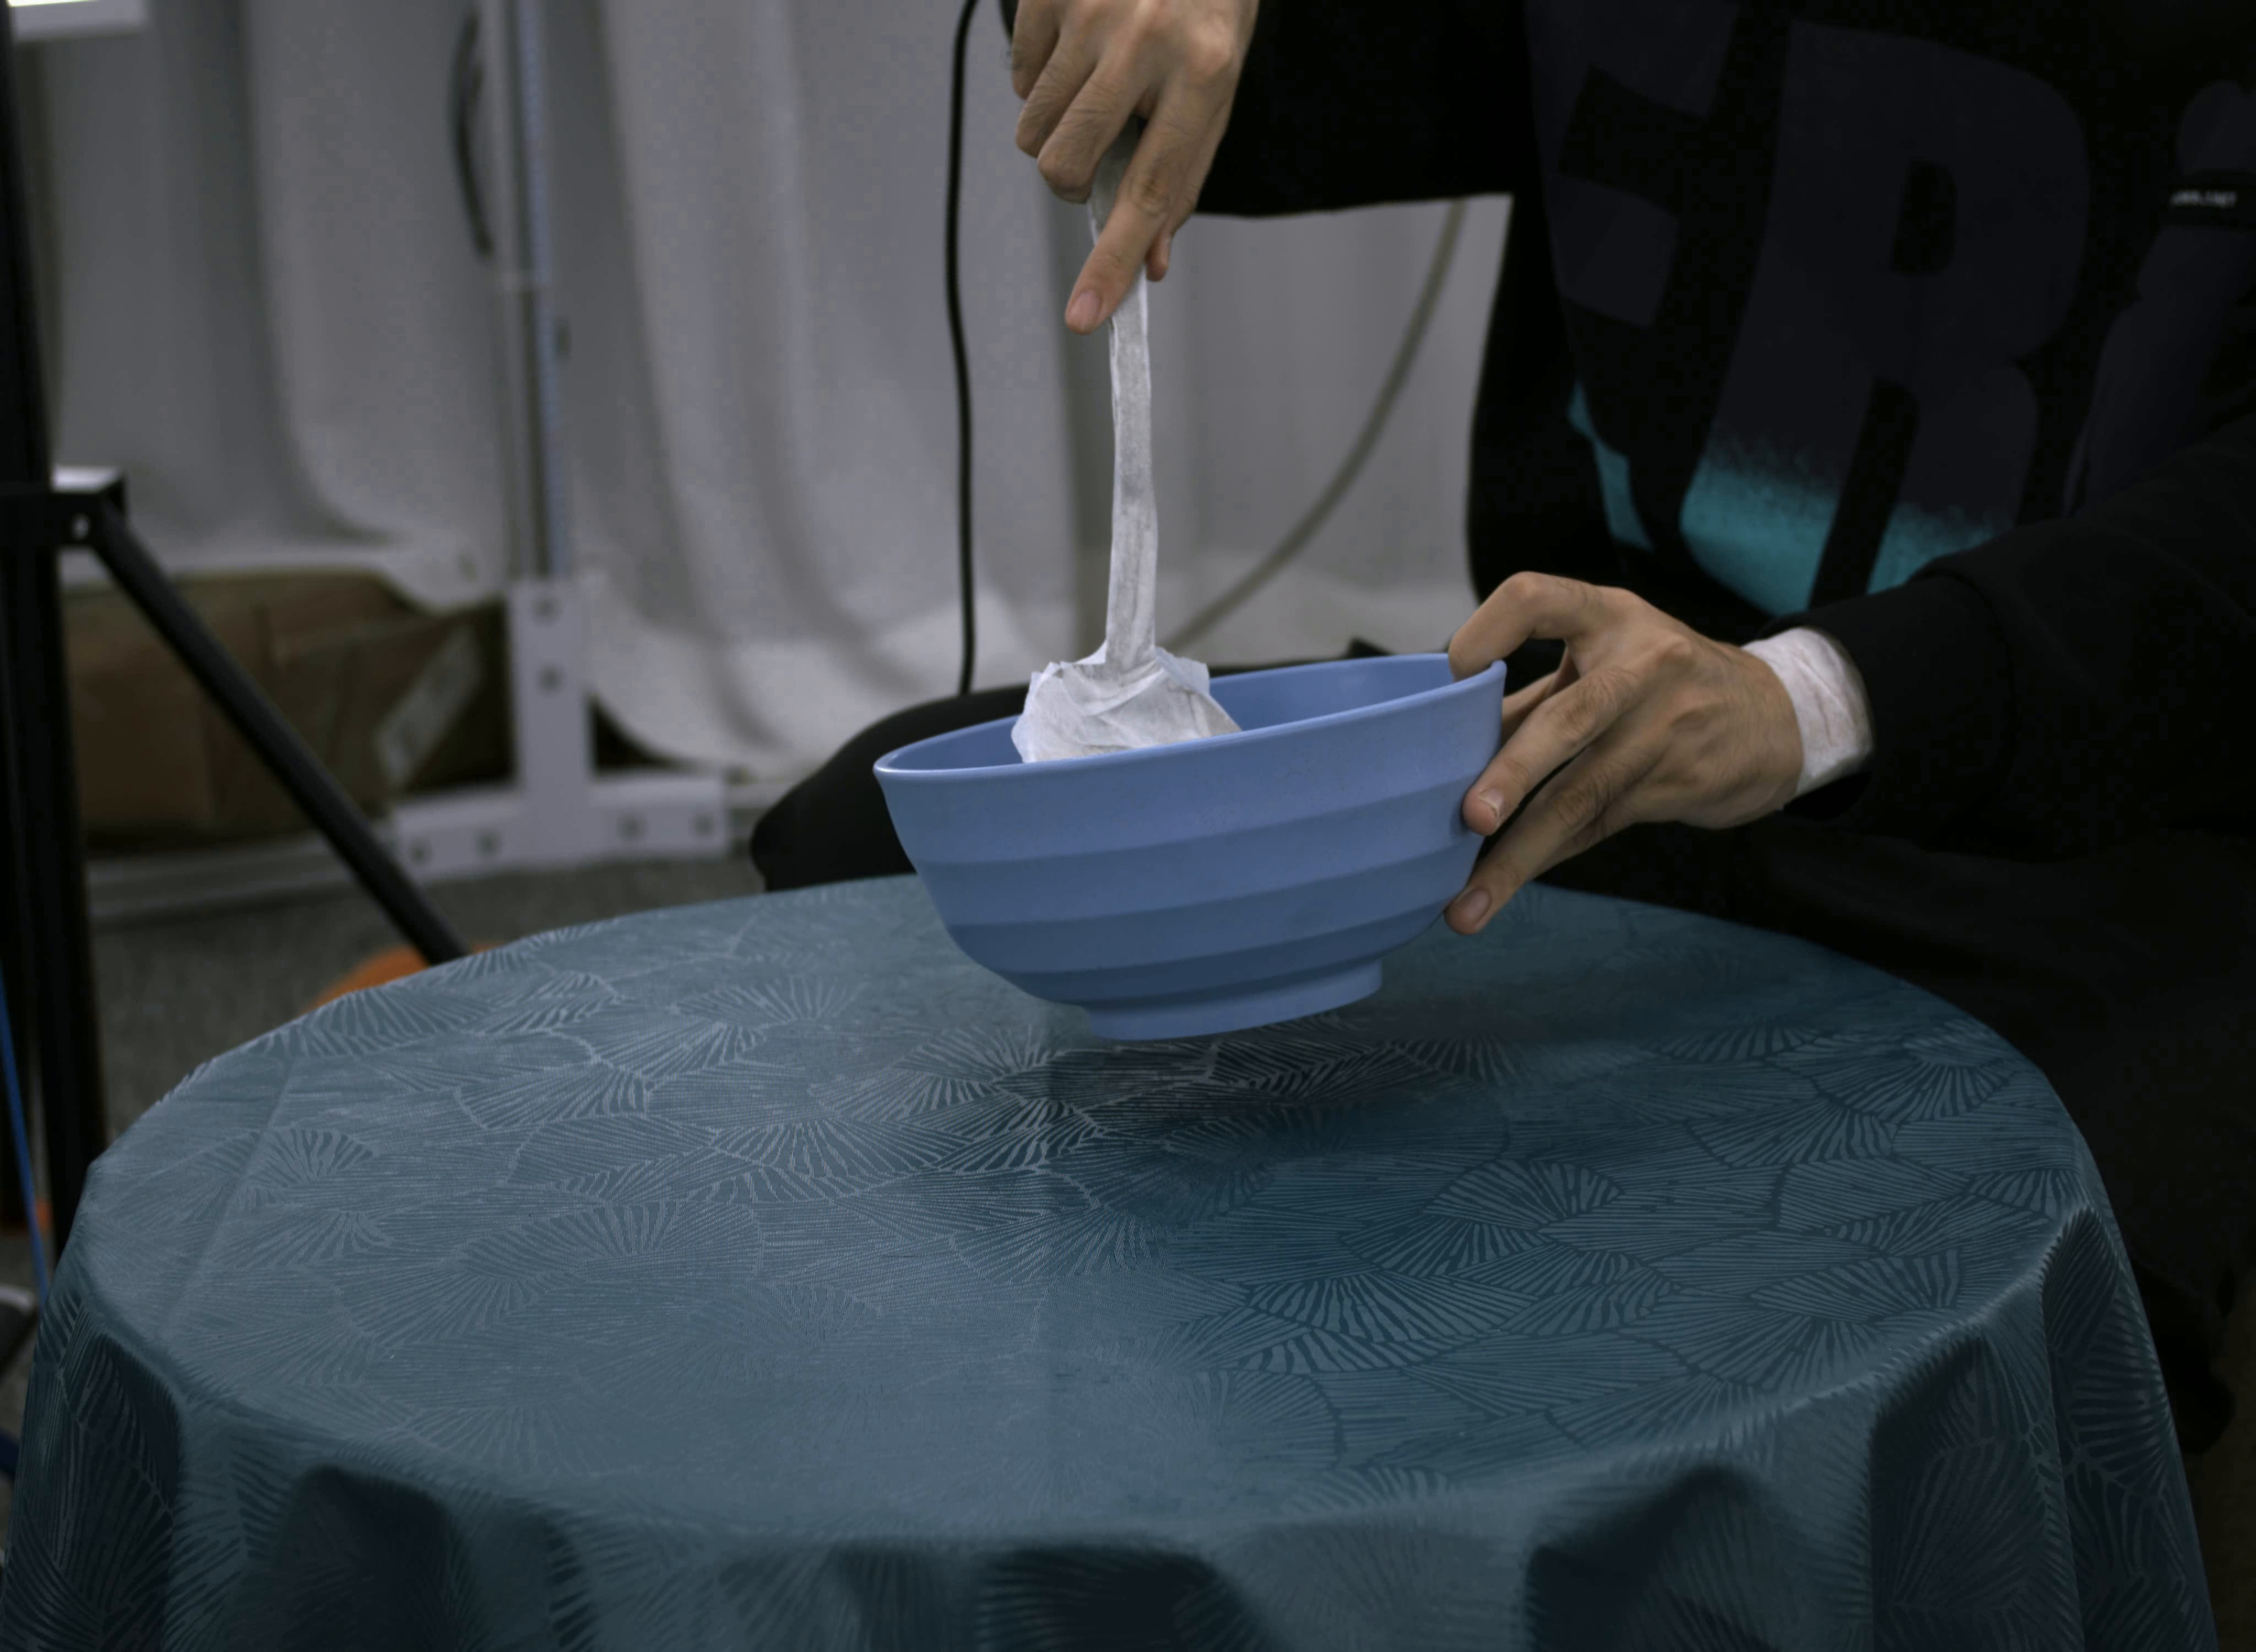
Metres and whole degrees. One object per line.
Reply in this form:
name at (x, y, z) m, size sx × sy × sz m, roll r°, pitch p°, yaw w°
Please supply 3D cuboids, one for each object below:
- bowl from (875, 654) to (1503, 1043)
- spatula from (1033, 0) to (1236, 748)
bowl at (0.026, 0.011, 1.635) m, size 0.195 × 0.096 × 0.197 m, roll -11°, pitch 5°, yaw -1°
spatula at (0.007, -0.133, 1.678) m, size 0.096 × 0.369 × 0.045 m, roll 10°, pitch -28°, yaw -25°
